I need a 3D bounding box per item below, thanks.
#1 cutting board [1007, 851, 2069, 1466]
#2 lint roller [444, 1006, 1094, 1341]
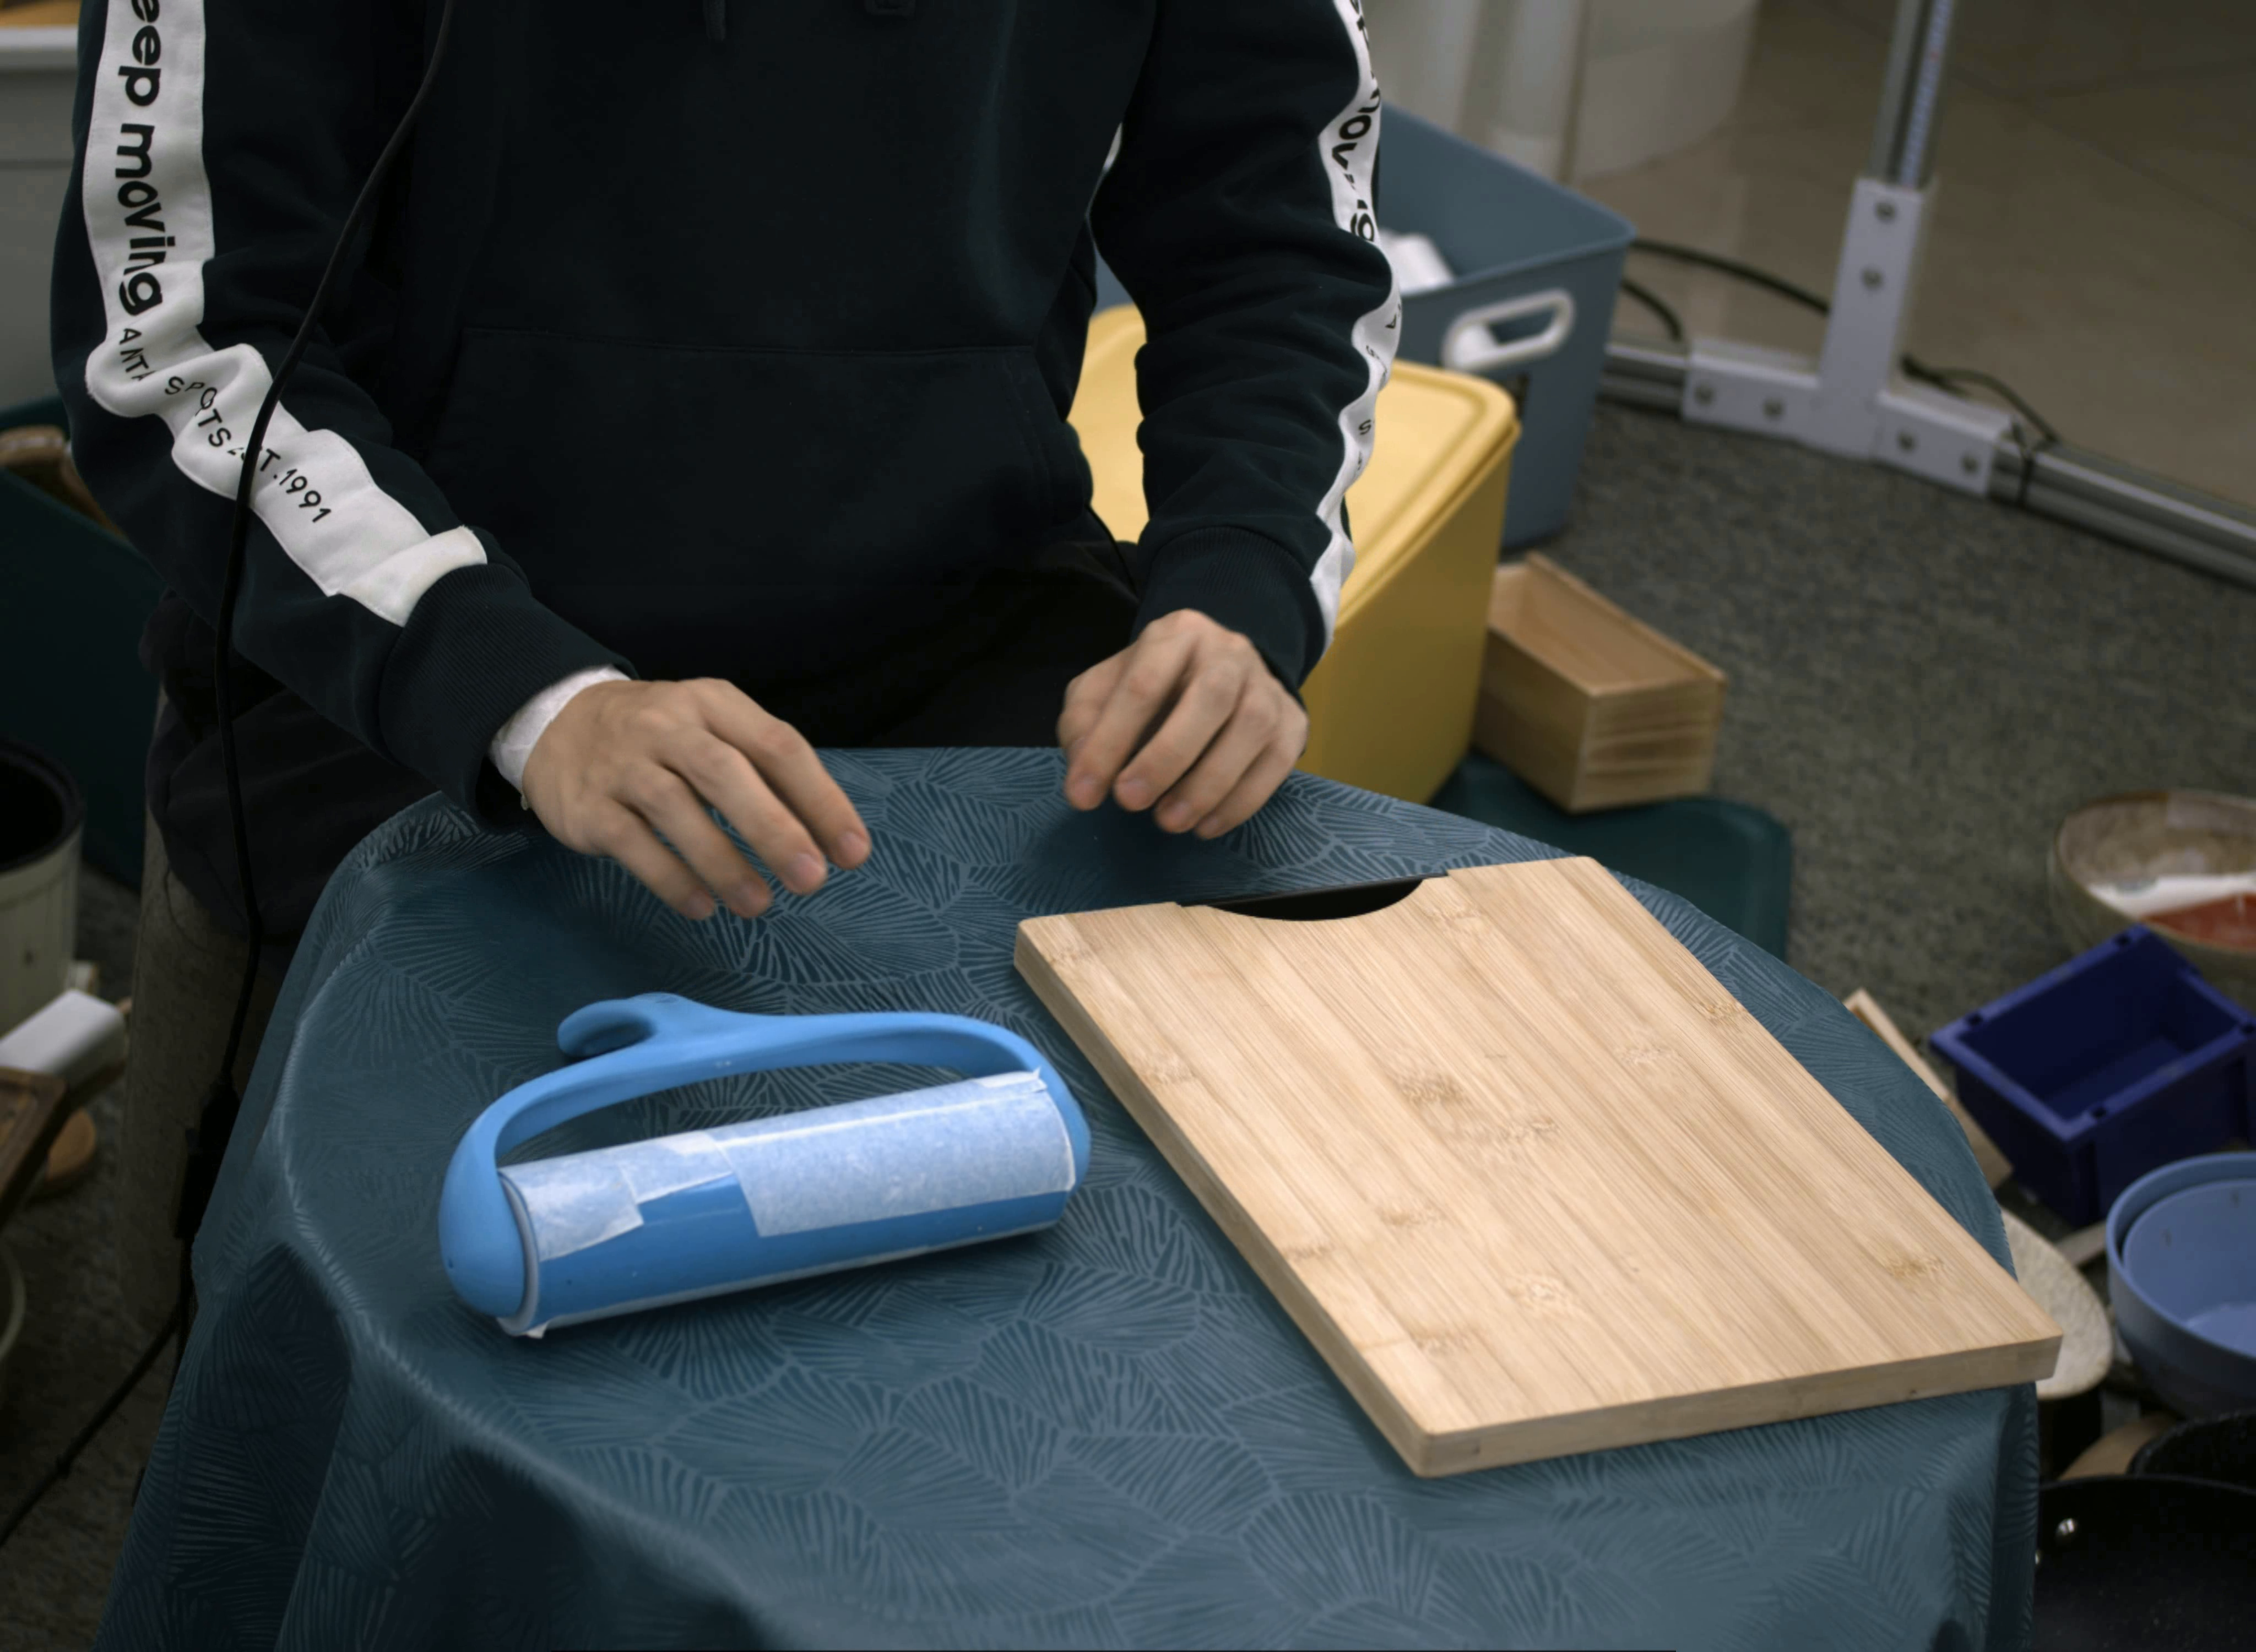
[{"bbox_3d":[0.132,0.107,1.843,0.249,0.023,0.352,-6,30,-24],"label":"cutting board"},{"bbox_3d":[-0.144,0.094,1.761,0.227,0.067,0.182,-12,33,-30],"label":"lint roller"}]
